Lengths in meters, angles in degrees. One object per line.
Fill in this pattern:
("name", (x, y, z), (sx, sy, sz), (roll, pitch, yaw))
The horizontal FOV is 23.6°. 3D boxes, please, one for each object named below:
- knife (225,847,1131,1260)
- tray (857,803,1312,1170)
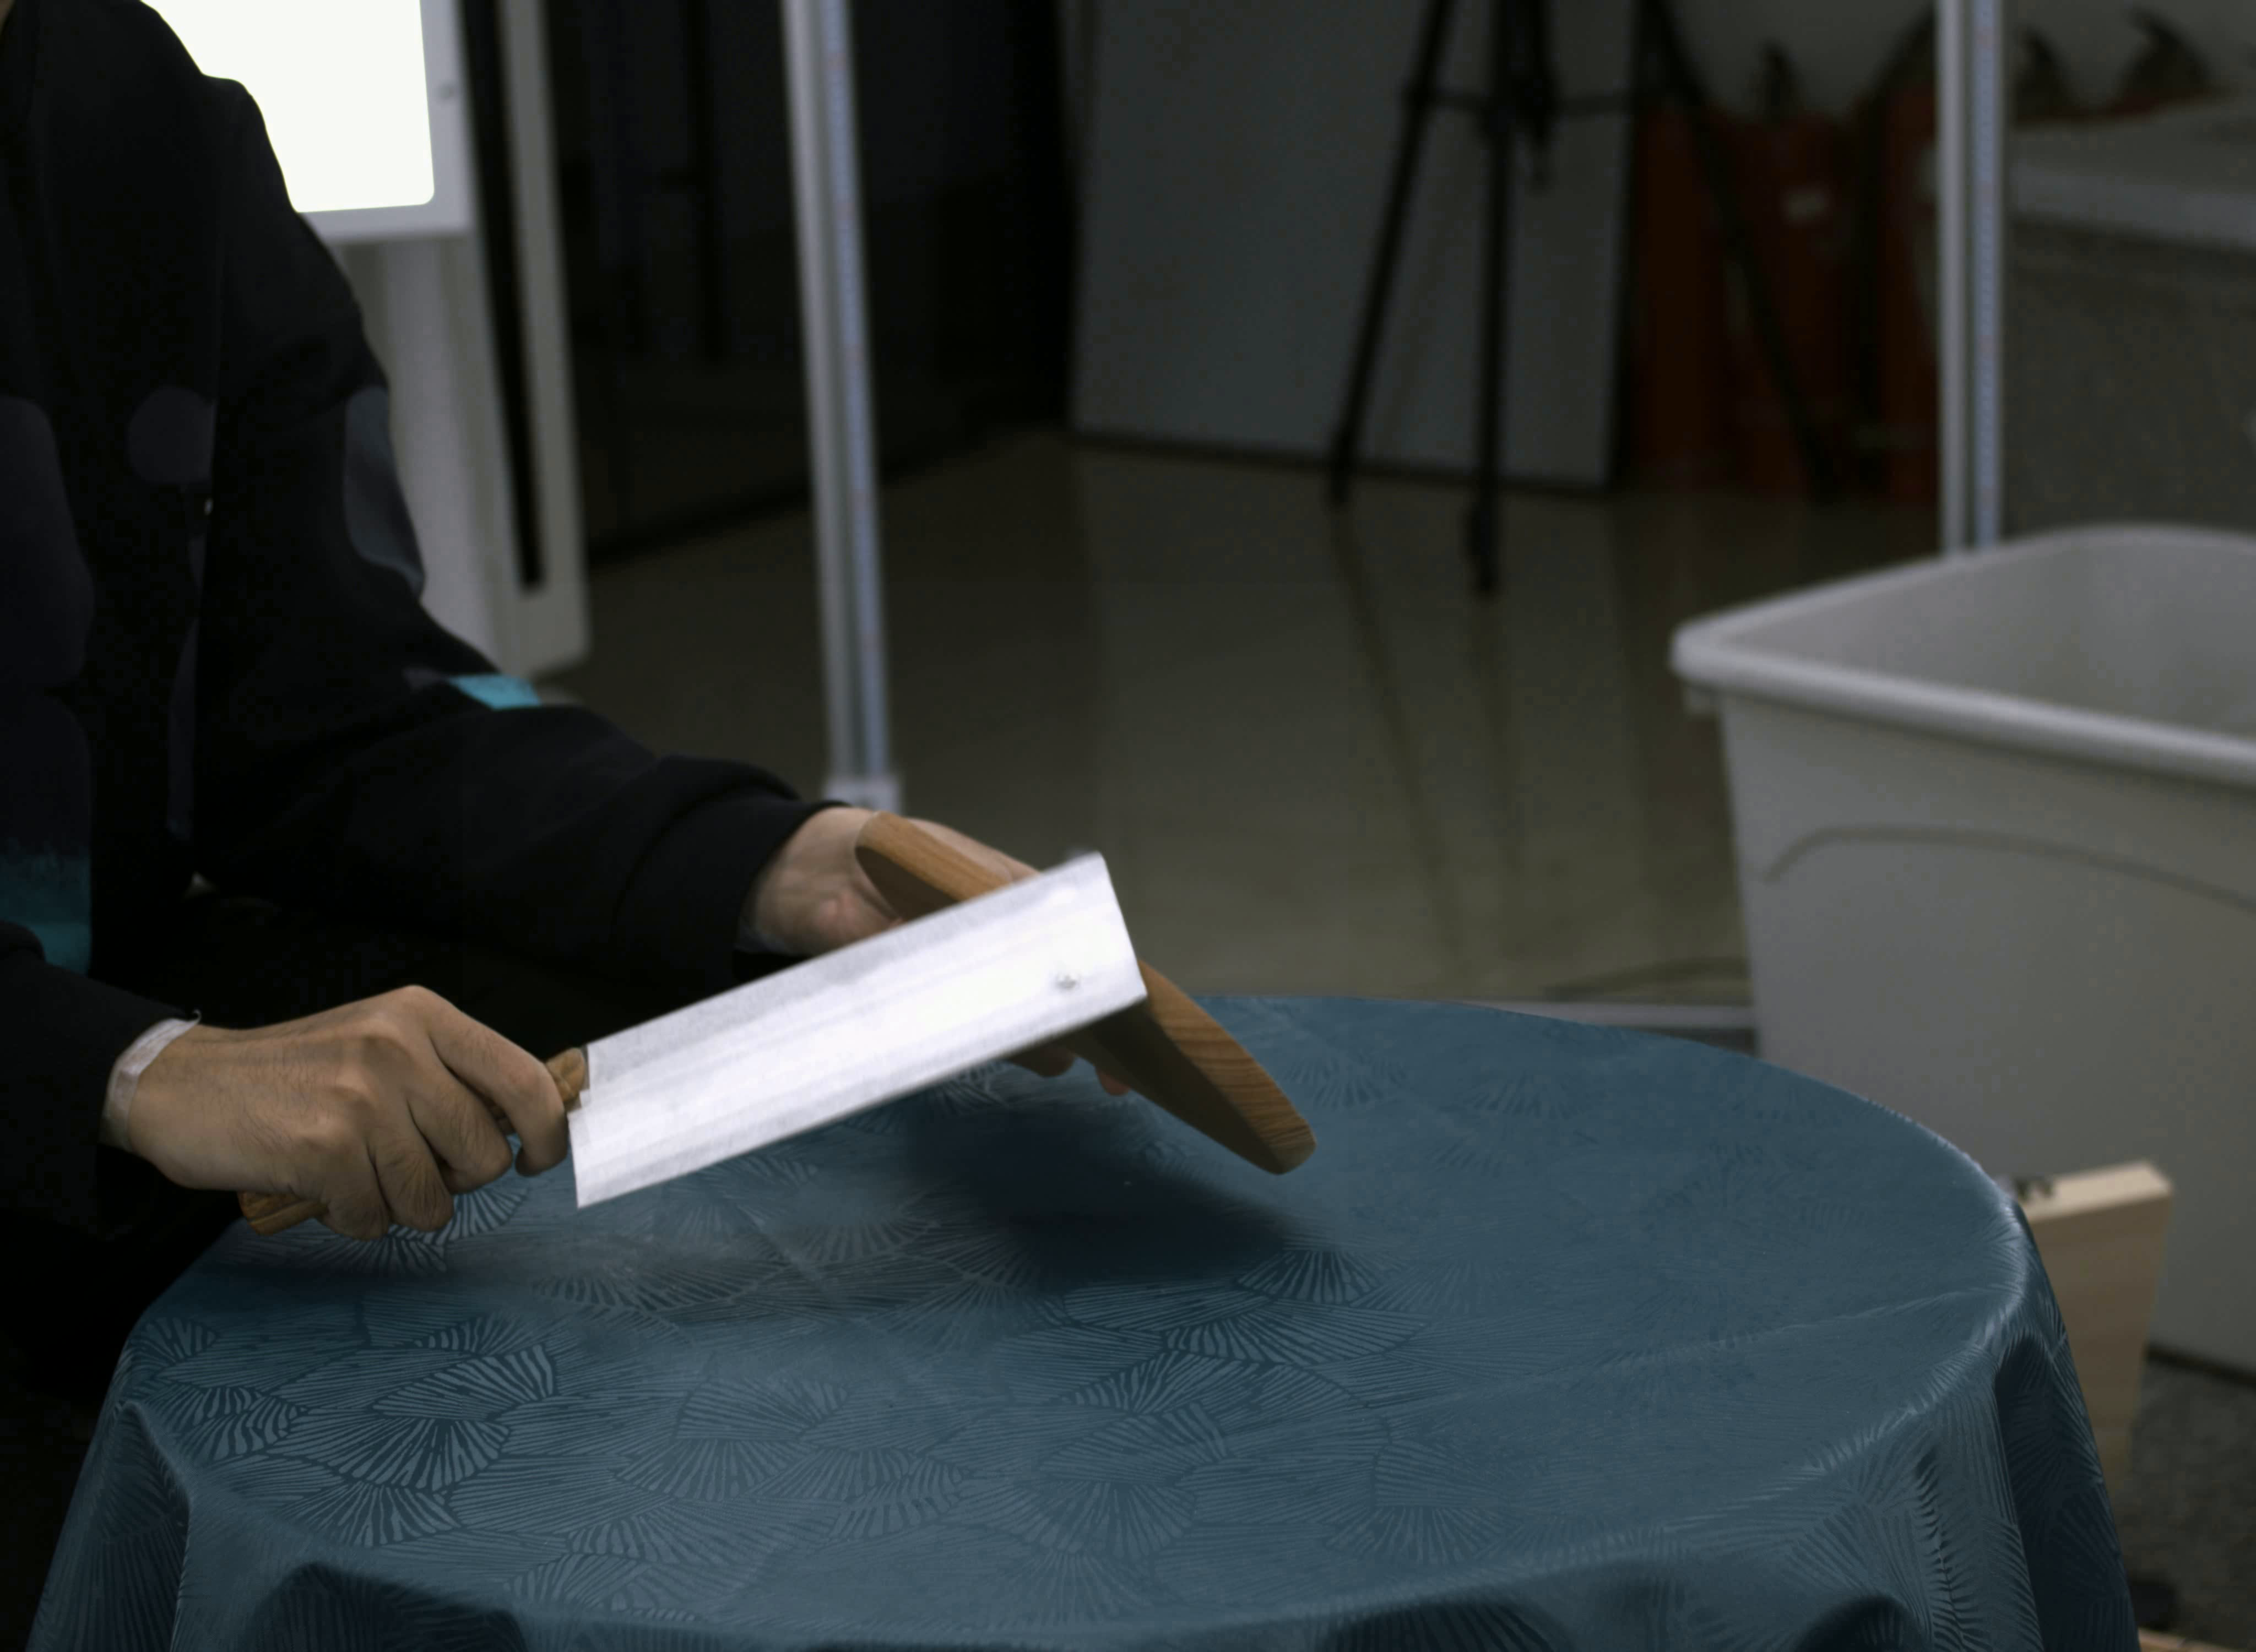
("knife", (-0.142, 0.082, 1.707), (0.303, 0.021, 0.093), (-22, 31, 2))
("tray", (-0.018, 0.052, 1.768), (0.020, 0.101, 0.234), (-46, 36, -12))
